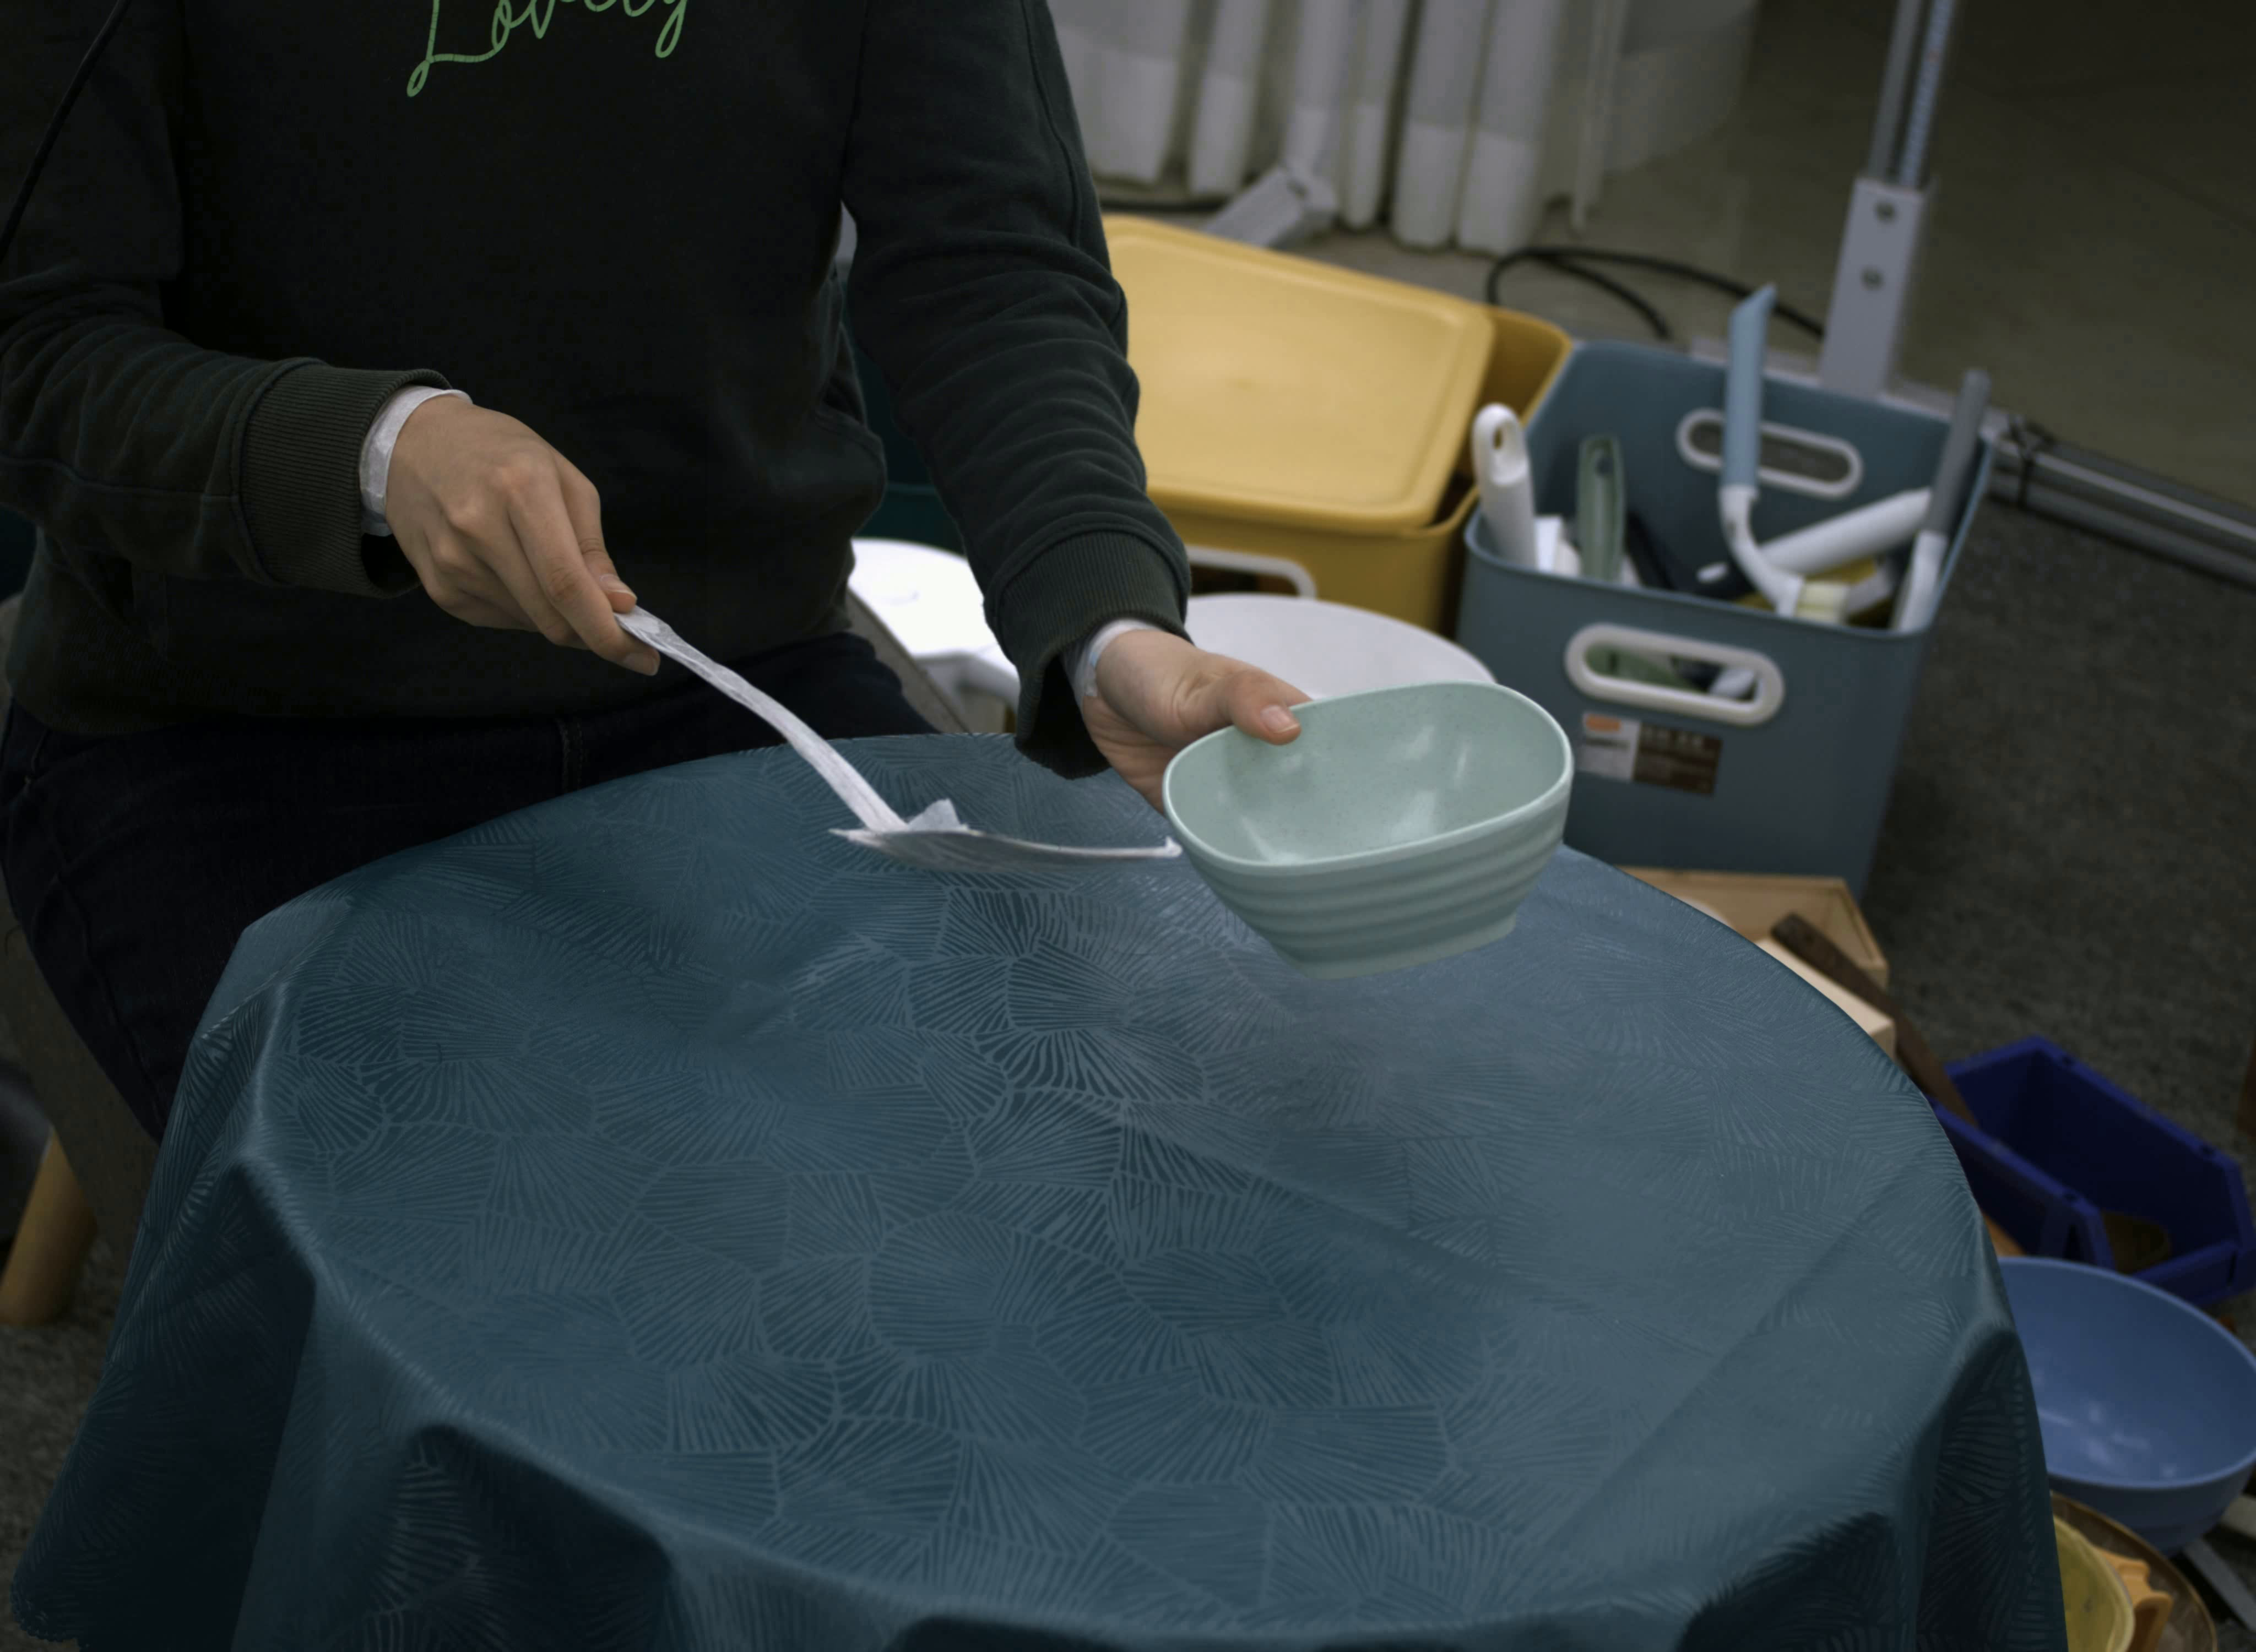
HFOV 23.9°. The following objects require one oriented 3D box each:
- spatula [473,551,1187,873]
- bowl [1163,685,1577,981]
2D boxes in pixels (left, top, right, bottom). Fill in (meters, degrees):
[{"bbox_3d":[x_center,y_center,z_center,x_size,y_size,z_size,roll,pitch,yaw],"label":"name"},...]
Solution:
[{"bbox_3d":[-0.122,-0.046,1.782,0.098,0.045,0.368,3,21,-42],"label":"spatula"},{"bbox_3d":[0.085,0.007,1.822,0.151,0.058,0.152,-7,24,3],"label":"bowl"}]
